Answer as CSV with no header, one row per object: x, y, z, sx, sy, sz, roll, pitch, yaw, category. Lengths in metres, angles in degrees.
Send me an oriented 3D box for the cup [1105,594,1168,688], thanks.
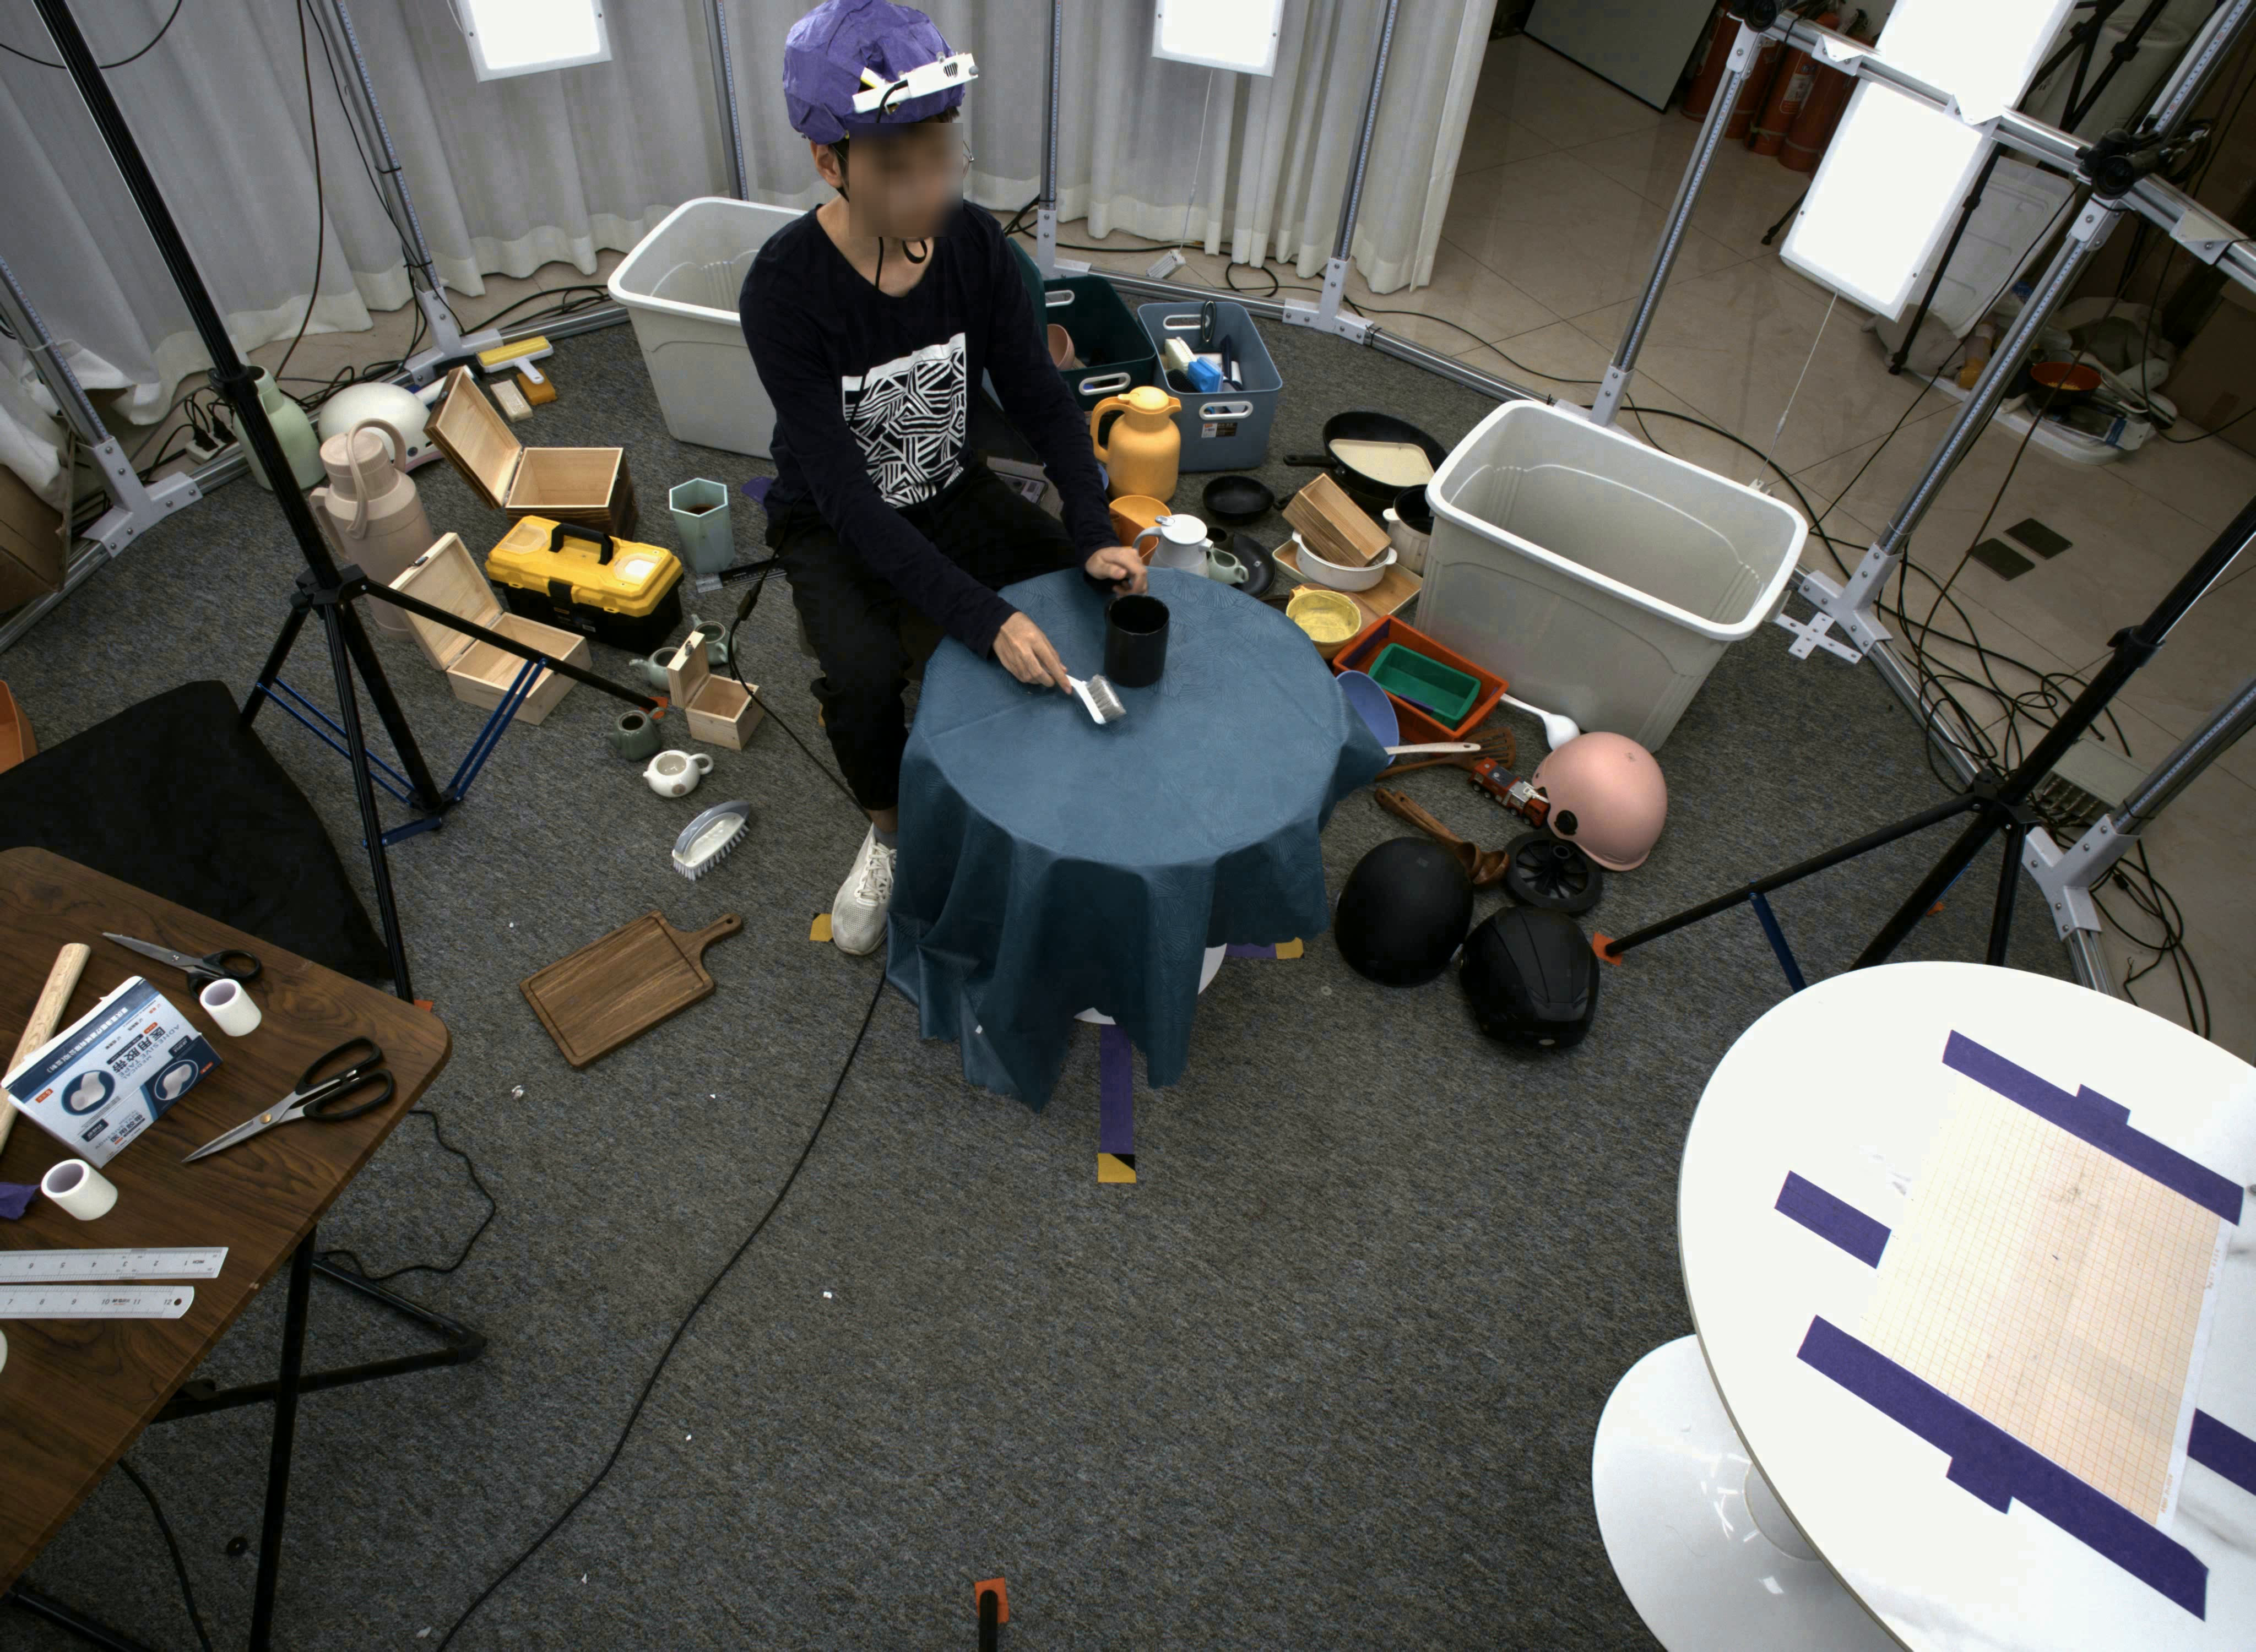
0.003,-0.275,1.841,0.089,0.103,0.126,-22,52,-19,cup

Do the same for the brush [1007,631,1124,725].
-0.091,-0.226,1.826,0.034,0.049,0.248,7,32,-50,brush
